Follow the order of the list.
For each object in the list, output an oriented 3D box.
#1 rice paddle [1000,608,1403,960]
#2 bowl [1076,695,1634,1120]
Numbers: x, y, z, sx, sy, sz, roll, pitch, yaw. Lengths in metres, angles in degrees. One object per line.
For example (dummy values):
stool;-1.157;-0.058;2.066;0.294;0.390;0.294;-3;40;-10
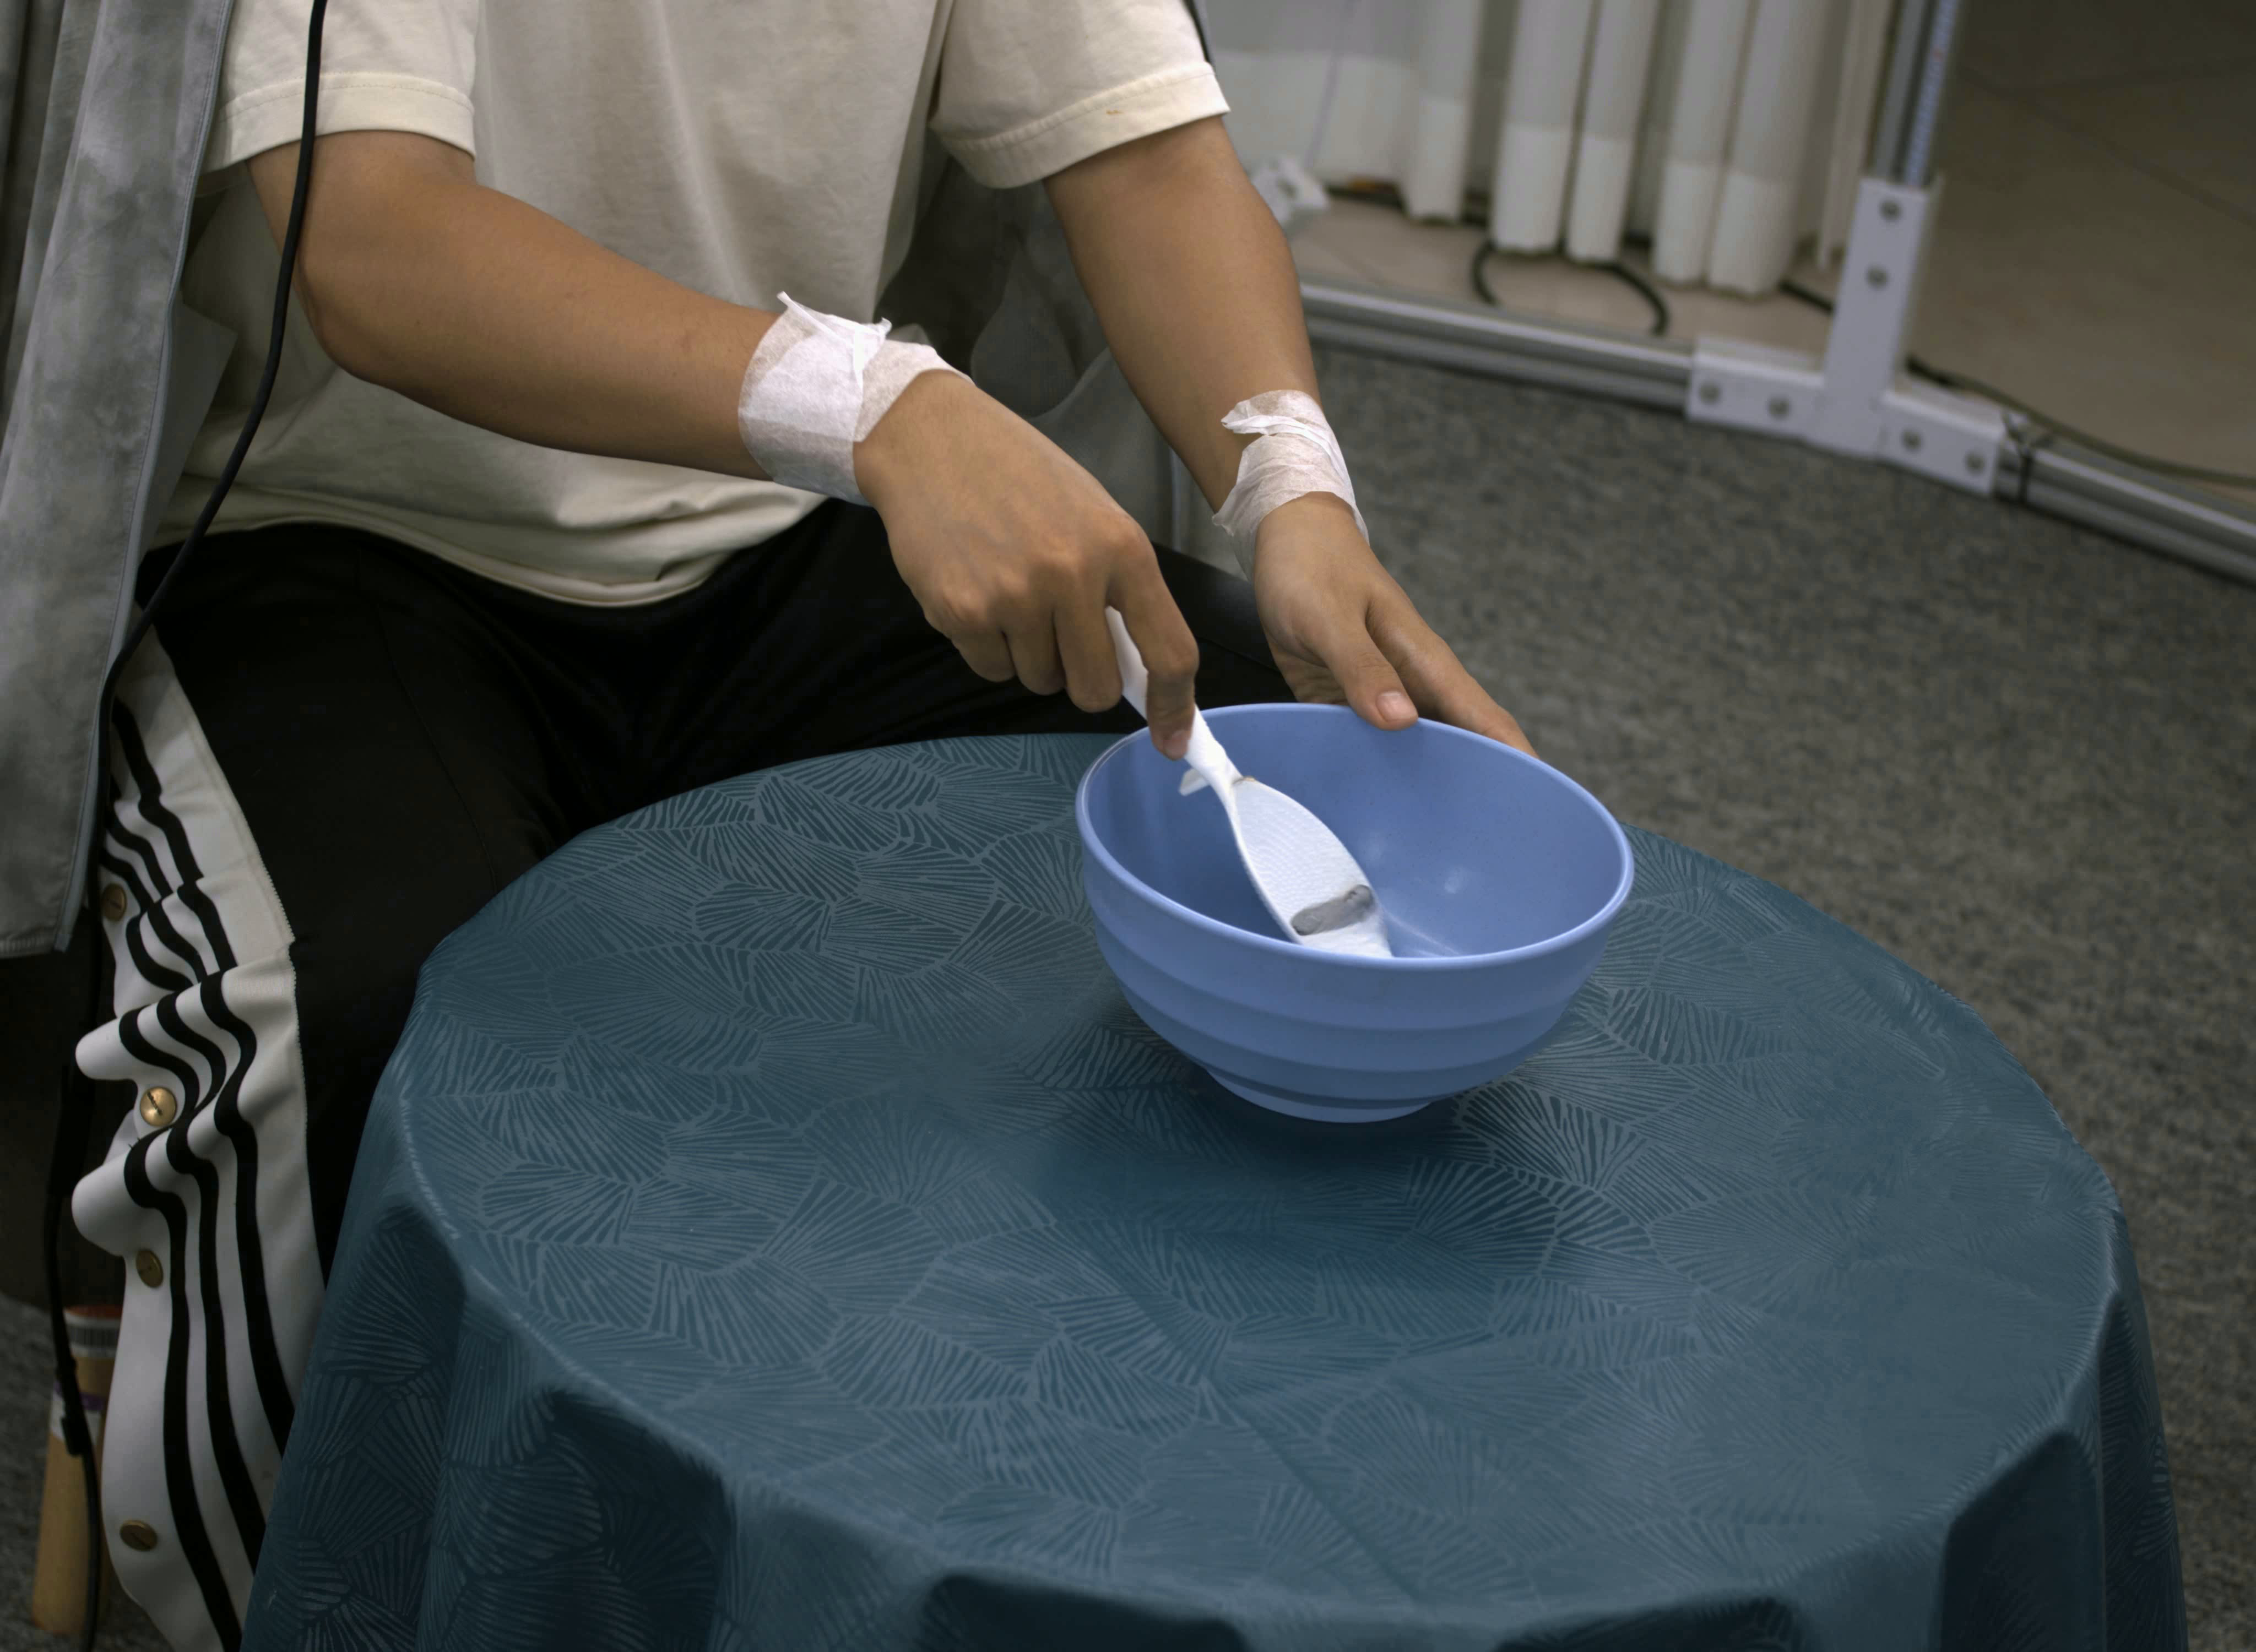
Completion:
rice paddle;0.035;-0.008;1.902;0.203;0.029;0.069;39;22;-27
bowl;0.074;0.040;1.879;0.196;0.095;0.198;5;29;-3
